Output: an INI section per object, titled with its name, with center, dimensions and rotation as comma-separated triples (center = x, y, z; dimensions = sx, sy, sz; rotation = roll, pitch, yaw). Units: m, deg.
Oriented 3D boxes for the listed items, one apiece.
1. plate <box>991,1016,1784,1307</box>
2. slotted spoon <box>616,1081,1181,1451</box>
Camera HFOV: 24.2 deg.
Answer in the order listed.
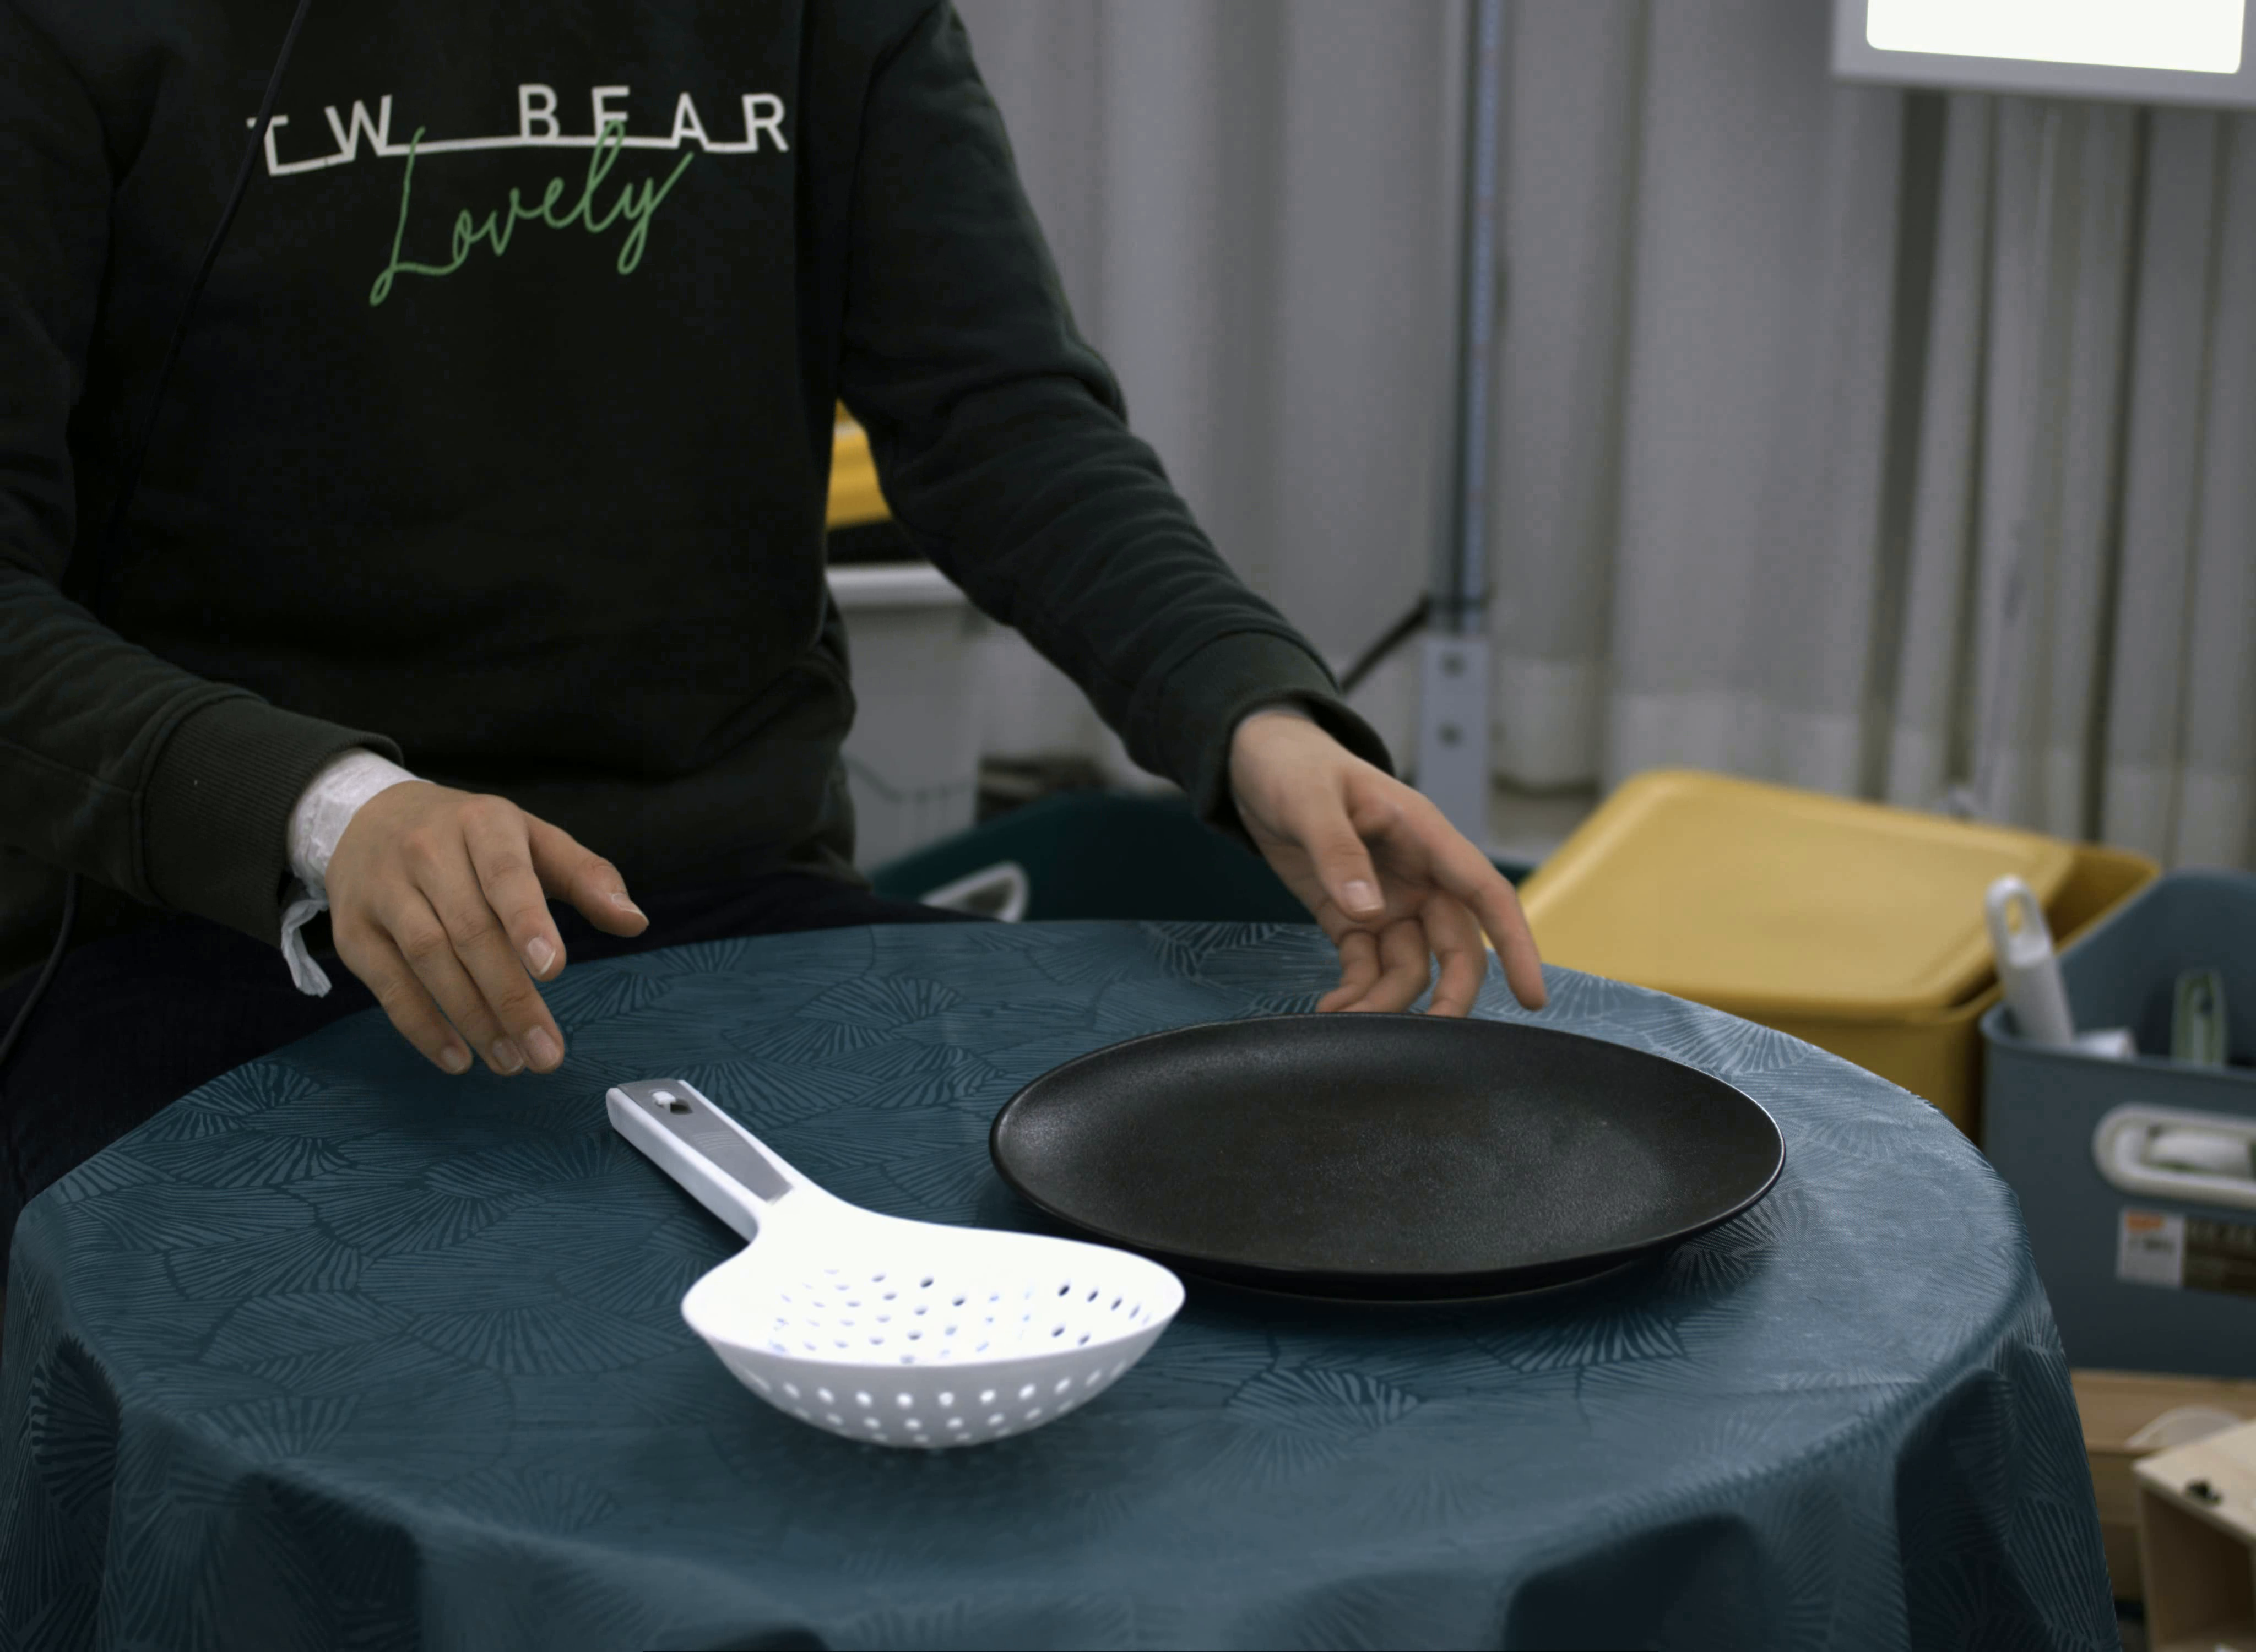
[plate]
center = 0.079, 0.104, 1.616
dimensions = 0.243, 0.023, 0.243
rotation = 1, 16, 0
[slotted spoon]
center = -0.092, 0.117, 1.522
dimensions = 0.136, 0.046, 0.346
rotation = -4, 15, -21
